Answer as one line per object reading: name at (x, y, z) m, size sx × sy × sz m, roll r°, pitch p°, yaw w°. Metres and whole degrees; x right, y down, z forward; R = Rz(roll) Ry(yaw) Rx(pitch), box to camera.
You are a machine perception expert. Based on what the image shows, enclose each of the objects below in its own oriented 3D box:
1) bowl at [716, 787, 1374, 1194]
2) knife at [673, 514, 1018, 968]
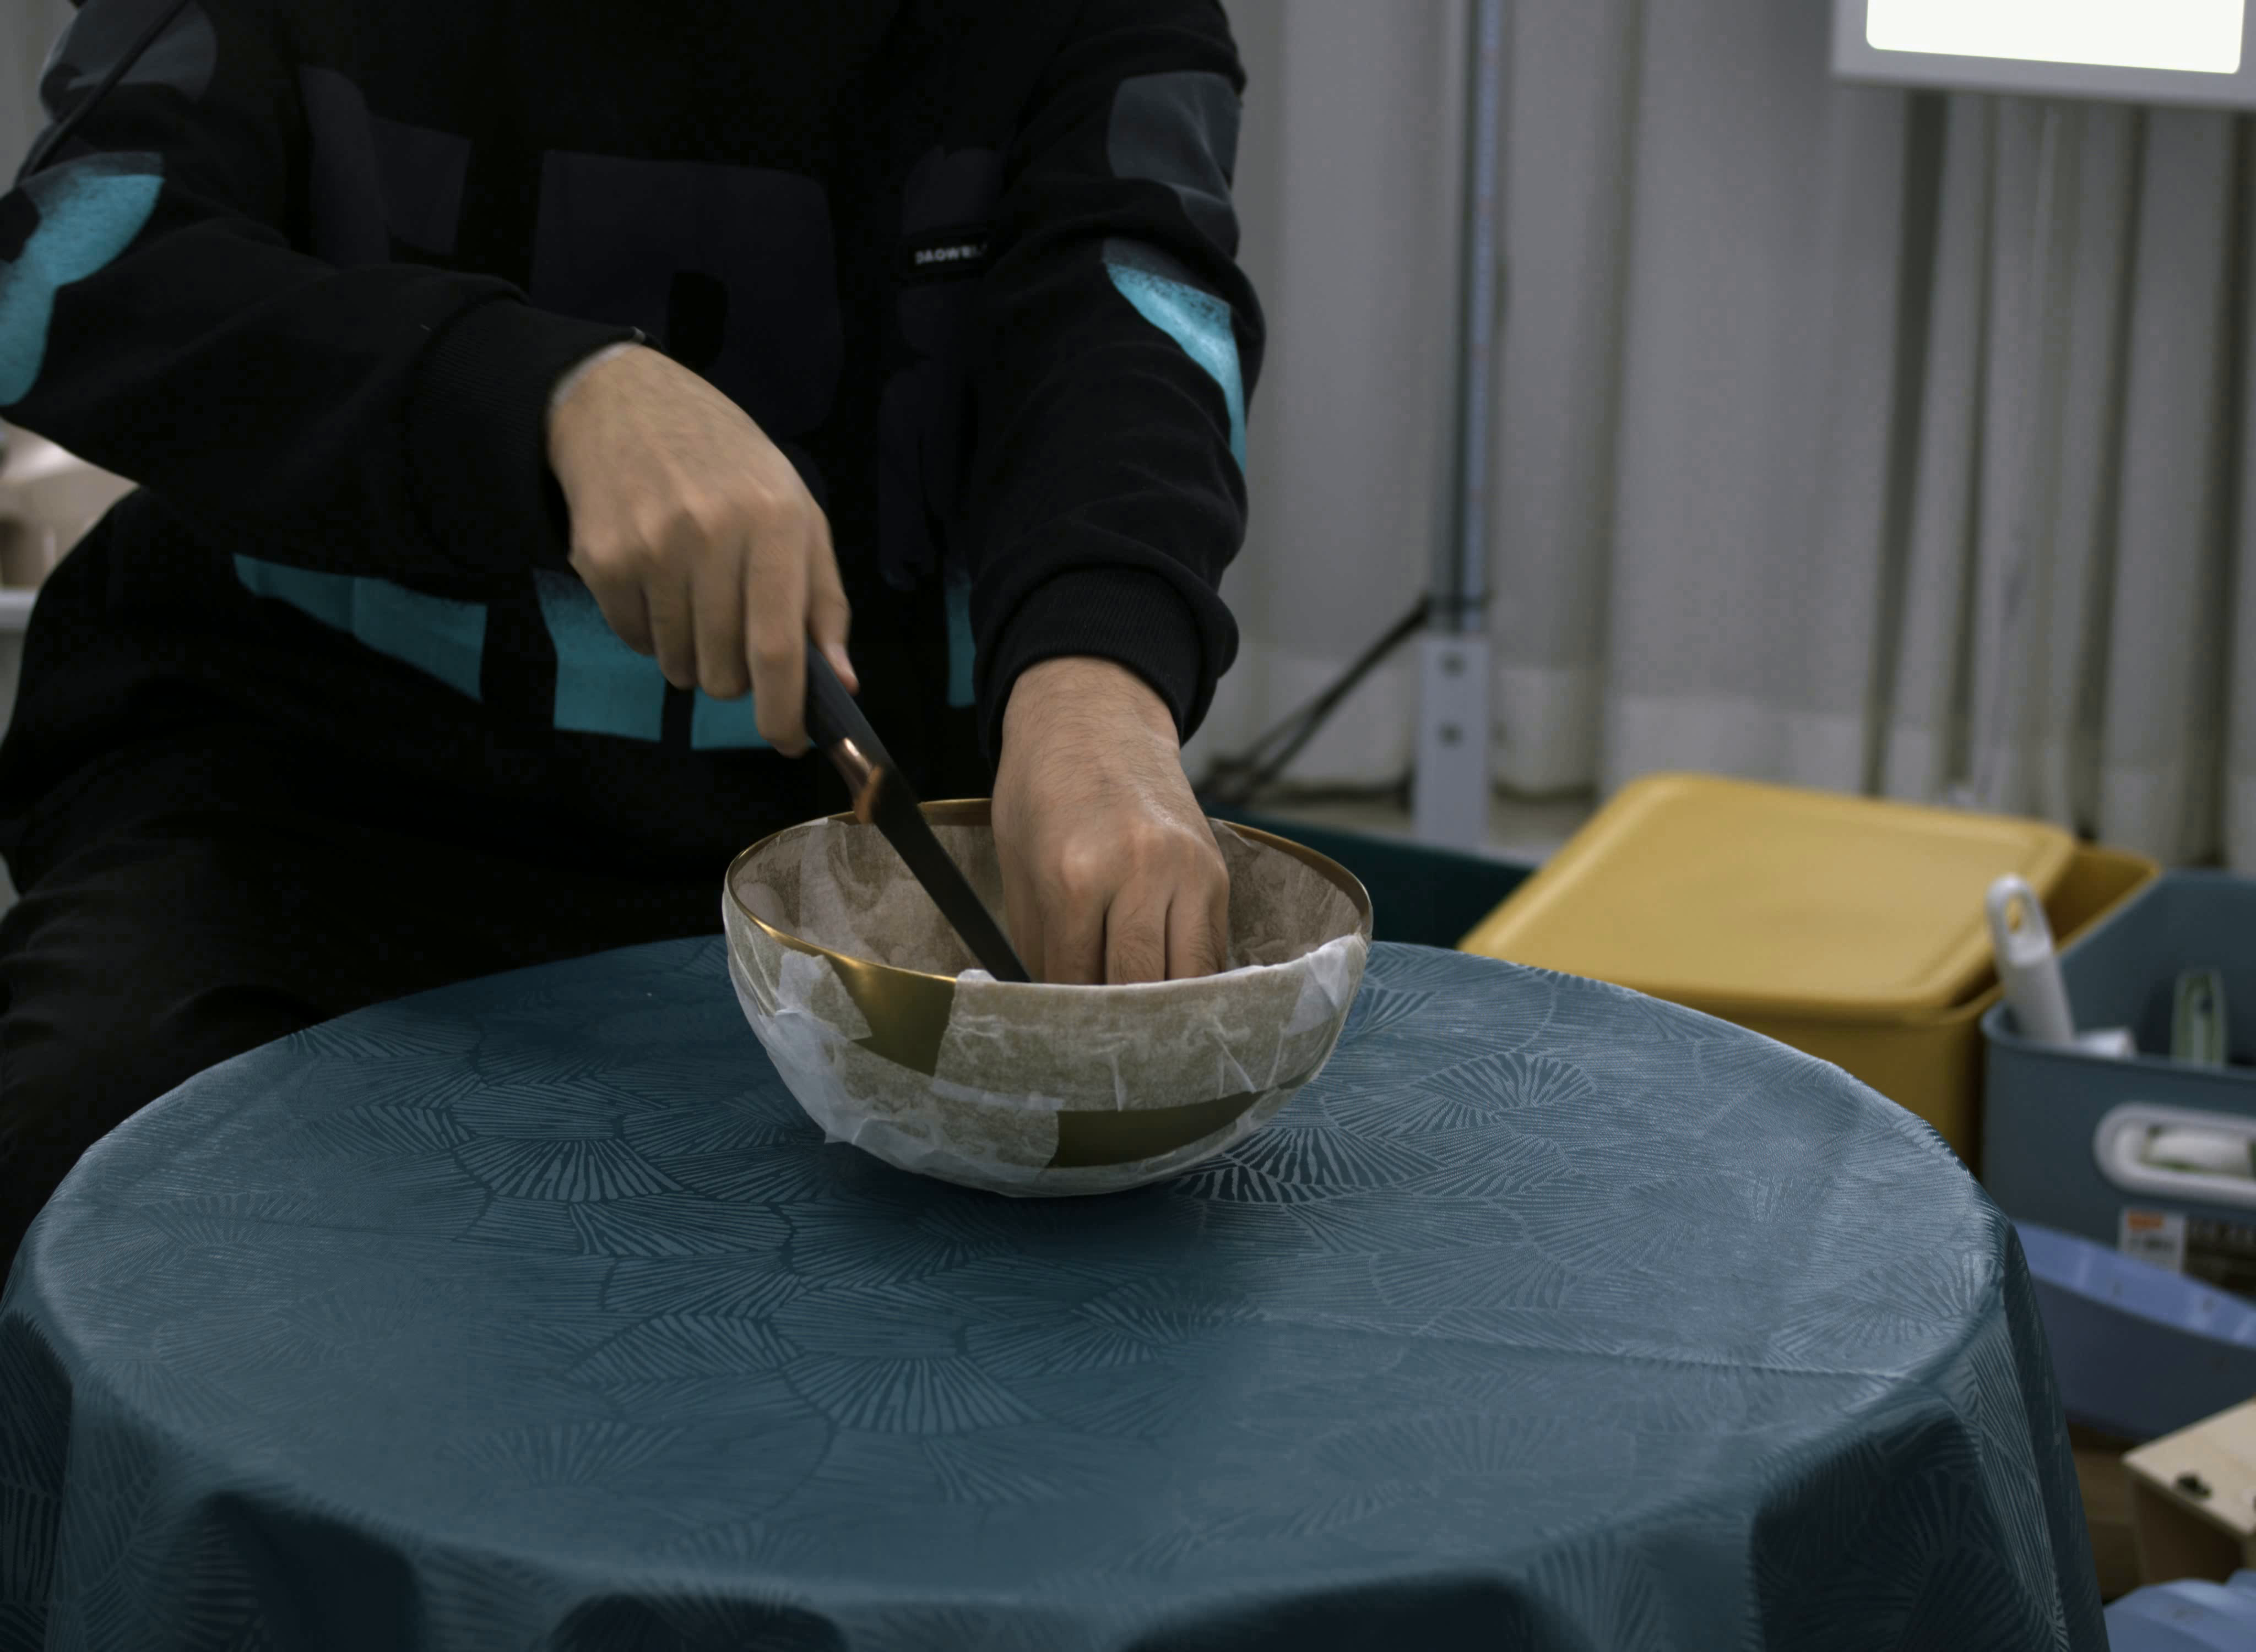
bowl at (-0.026, 0.058, 1.634) m, size 0.214 × 0.095 × 0.213 m, roll 2°, pitch 16°, yaw 0°
knife at (-0.079, -0.012, 1.636) m, size 0.017 × 0.026 × 0.223 m, roll -19°, pitch 62°, yaw -38°
